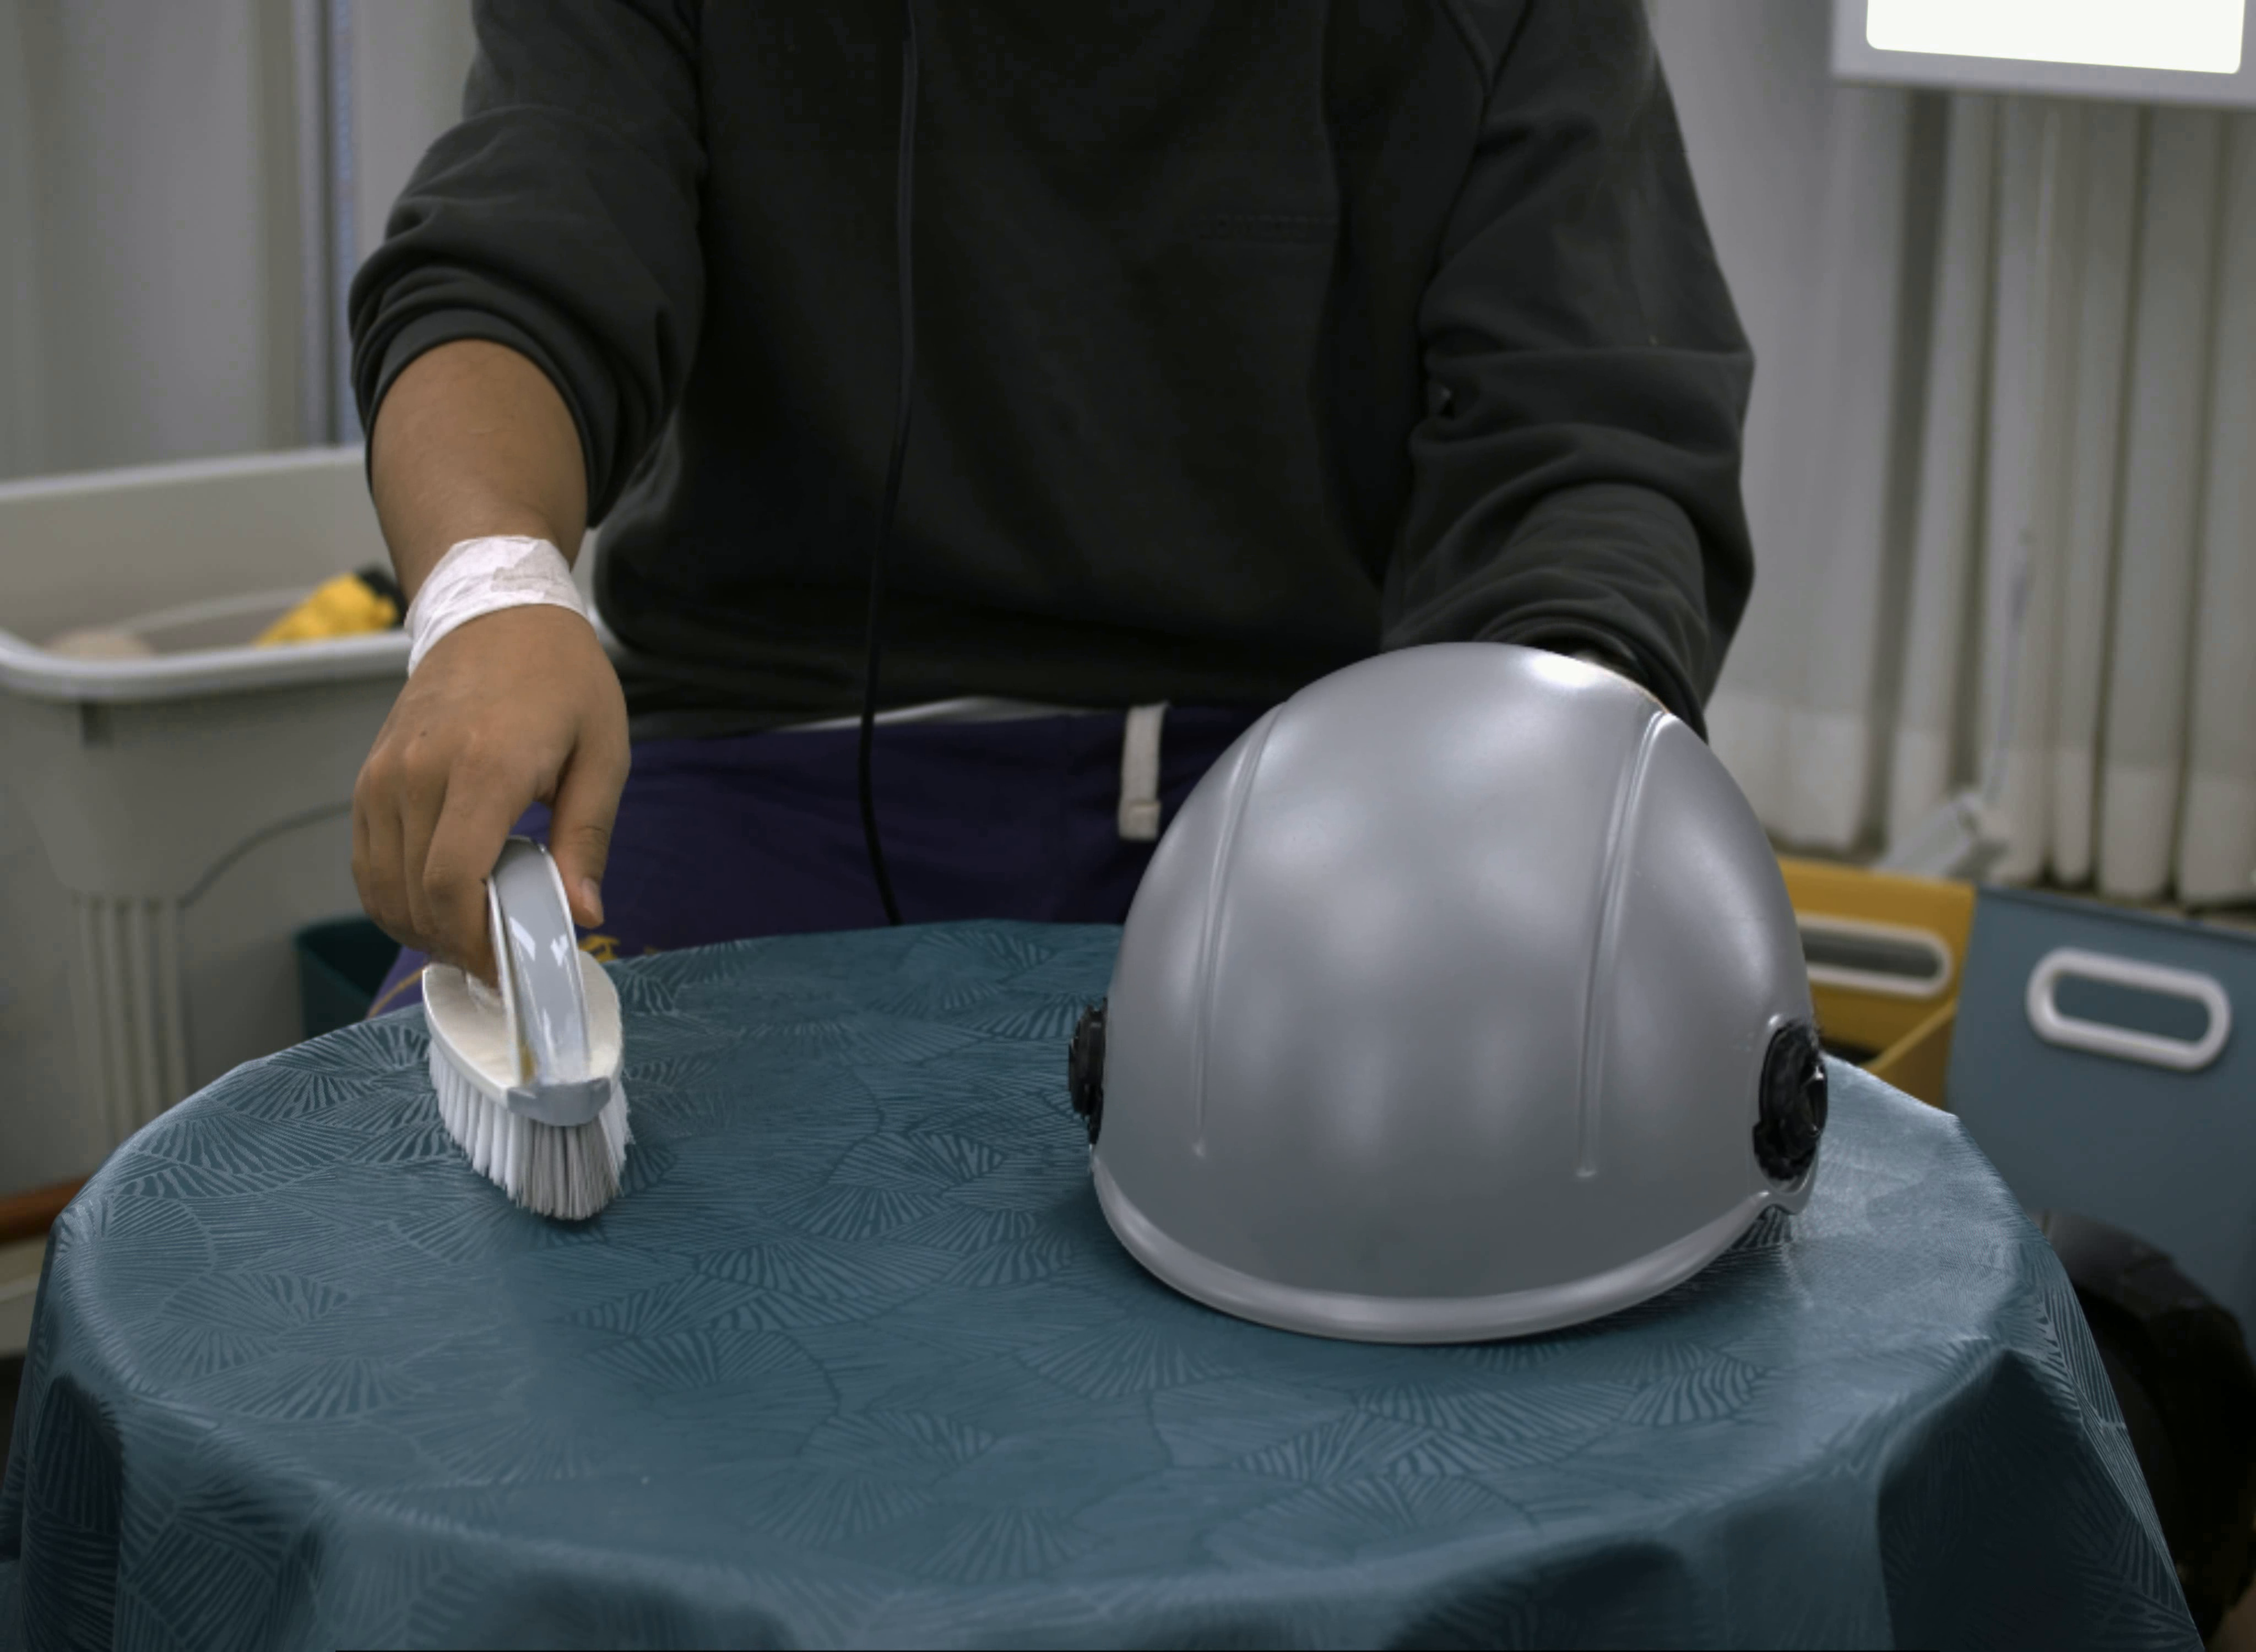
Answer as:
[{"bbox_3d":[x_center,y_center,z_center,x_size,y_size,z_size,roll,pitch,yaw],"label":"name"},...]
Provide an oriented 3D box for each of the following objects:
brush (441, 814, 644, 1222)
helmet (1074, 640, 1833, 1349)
[{"bbox_3d":[-0.182,0.054,1.650,0.061,0.095,0.174,-6,20,-10],"label":"brush"},{"bbox_3d":[0.100,0.034,1.600,0.230,0.170,0.276,2,18,13],"label":"helmet"}]
